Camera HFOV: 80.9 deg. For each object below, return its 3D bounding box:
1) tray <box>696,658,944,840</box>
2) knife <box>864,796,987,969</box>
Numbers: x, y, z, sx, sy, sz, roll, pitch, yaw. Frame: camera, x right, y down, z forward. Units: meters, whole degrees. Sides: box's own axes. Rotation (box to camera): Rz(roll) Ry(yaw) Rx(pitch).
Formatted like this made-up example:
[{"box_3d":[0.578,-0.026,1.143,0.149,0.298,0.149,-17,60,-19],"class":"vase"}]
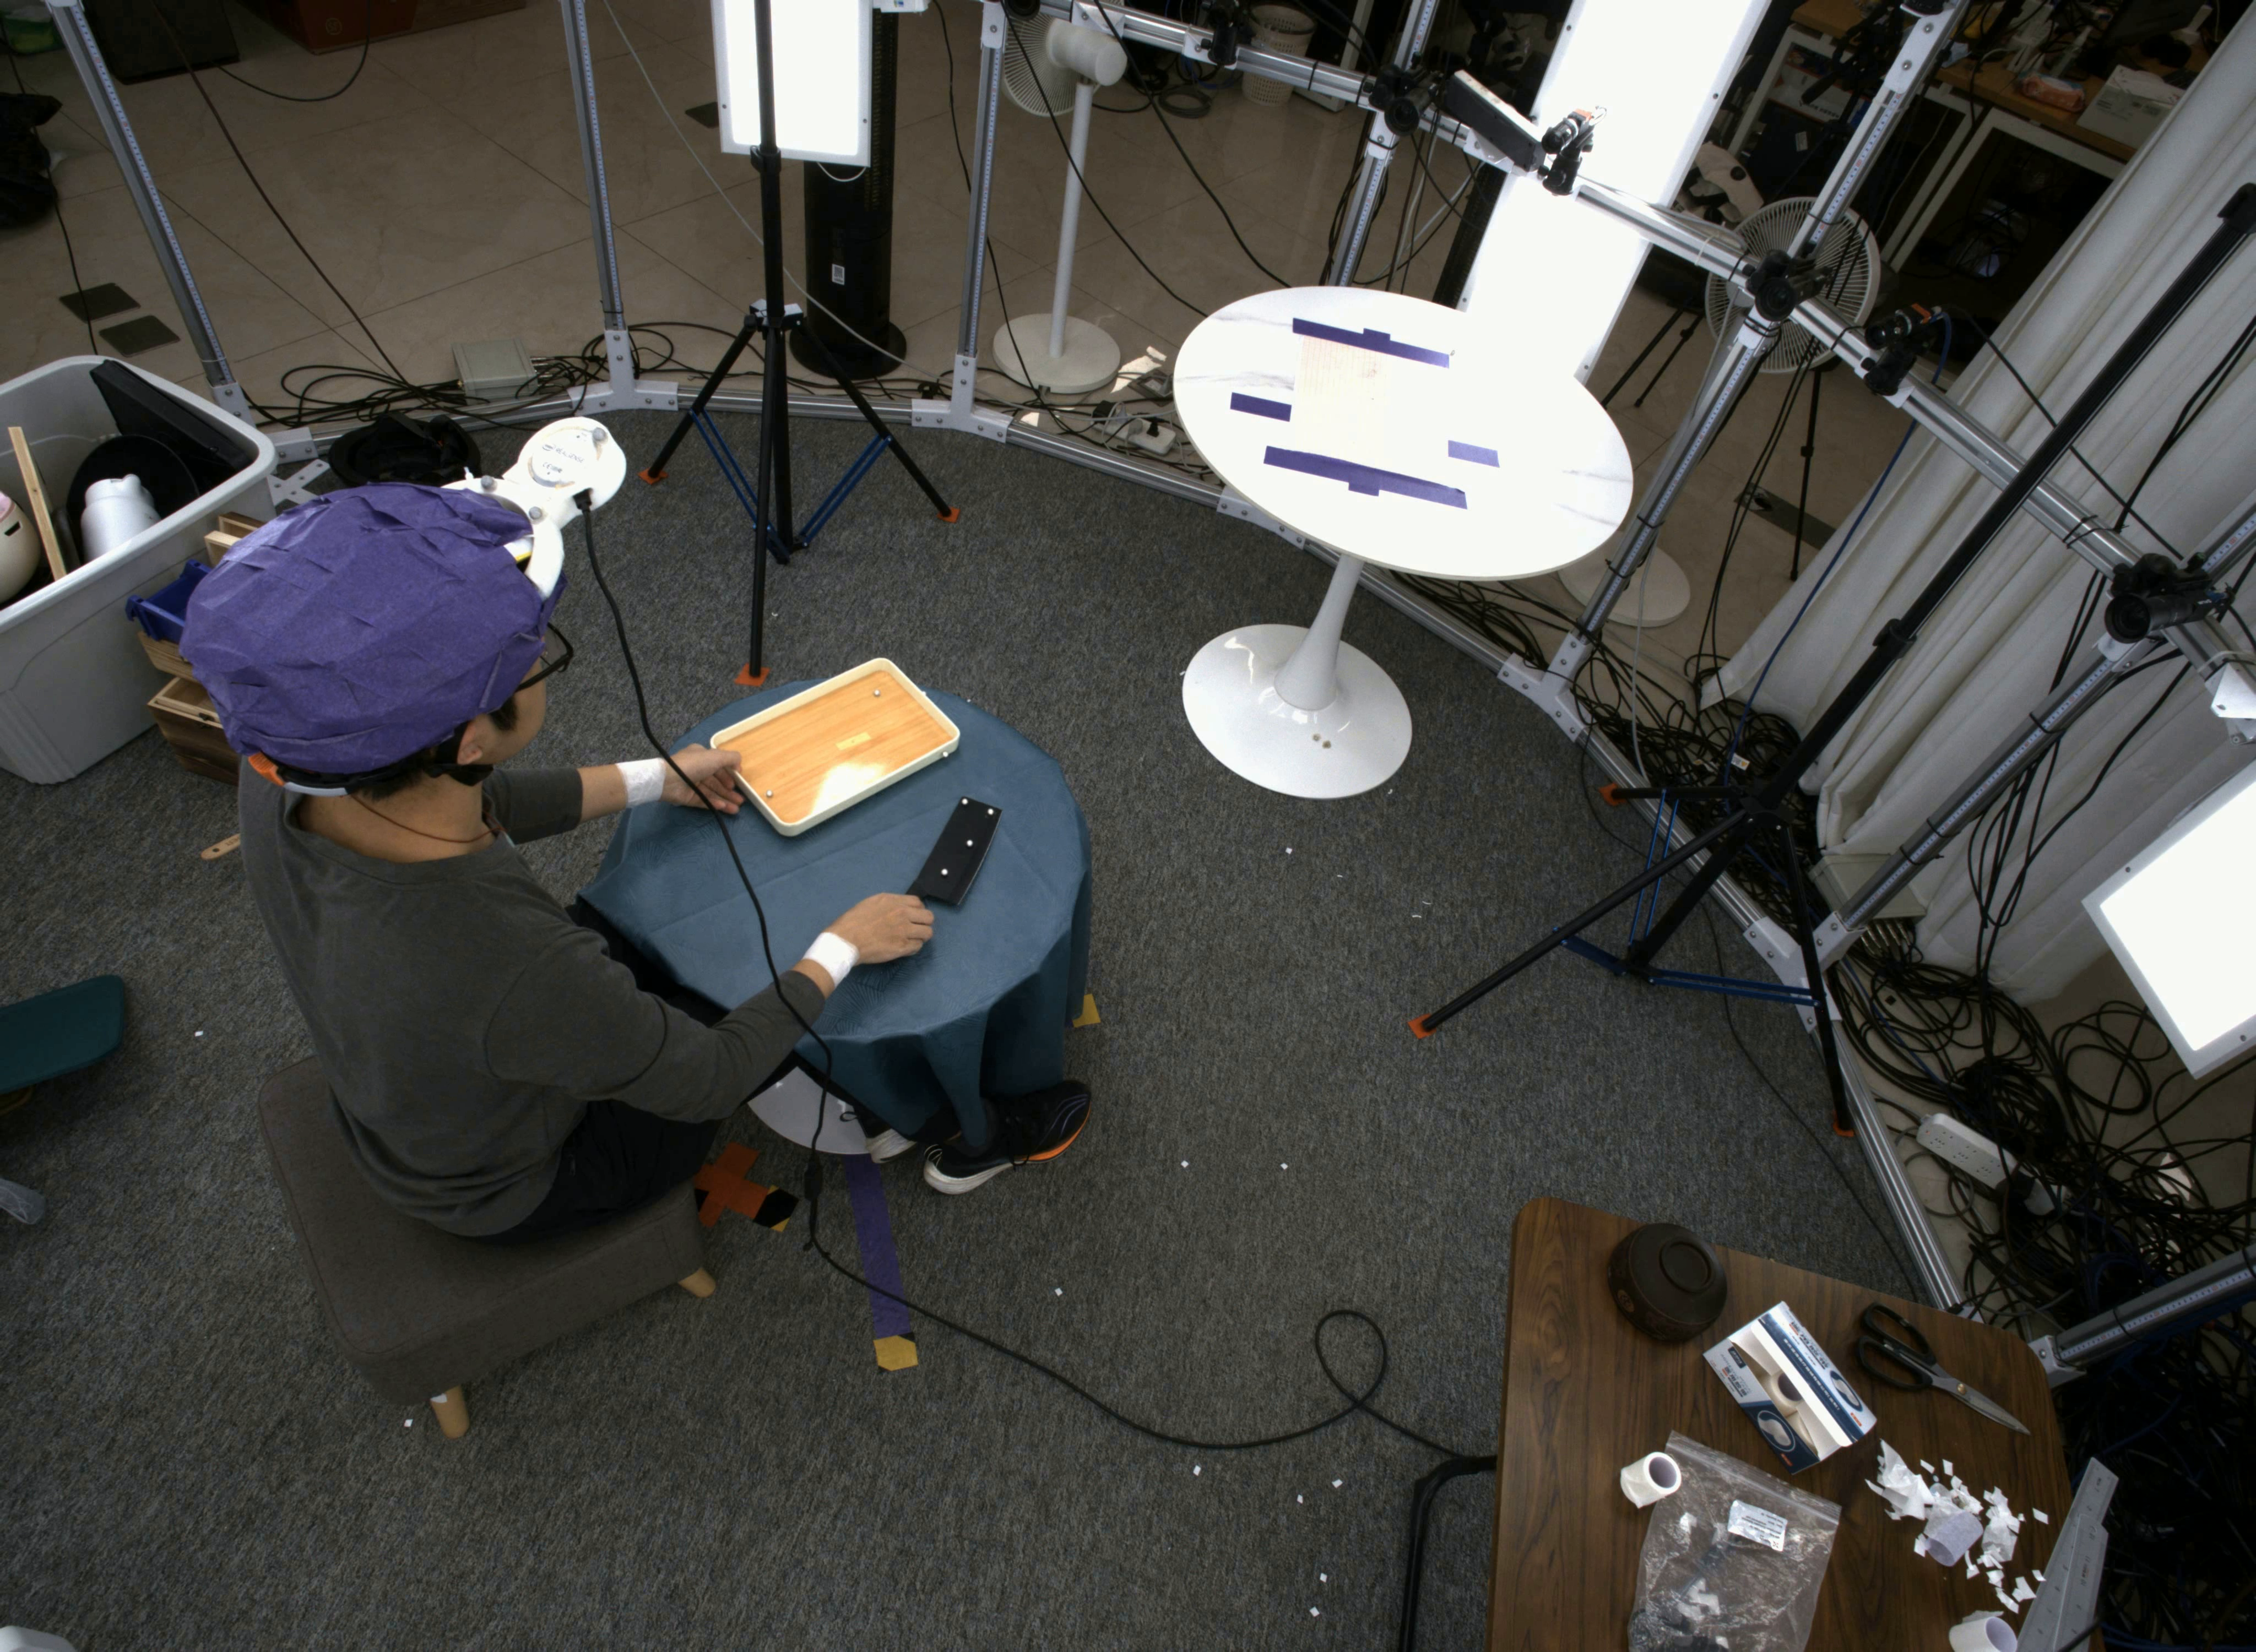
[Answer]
[{"box_3d":[-0.424,-0.113,1.797,0.301,0.028,0.187,-34,68,-33],"class":"tray"},{"box_3d":[-0.265,0.068,1.712,0.080,0.021,0.300,23,49,5],"class":"knife"}]
